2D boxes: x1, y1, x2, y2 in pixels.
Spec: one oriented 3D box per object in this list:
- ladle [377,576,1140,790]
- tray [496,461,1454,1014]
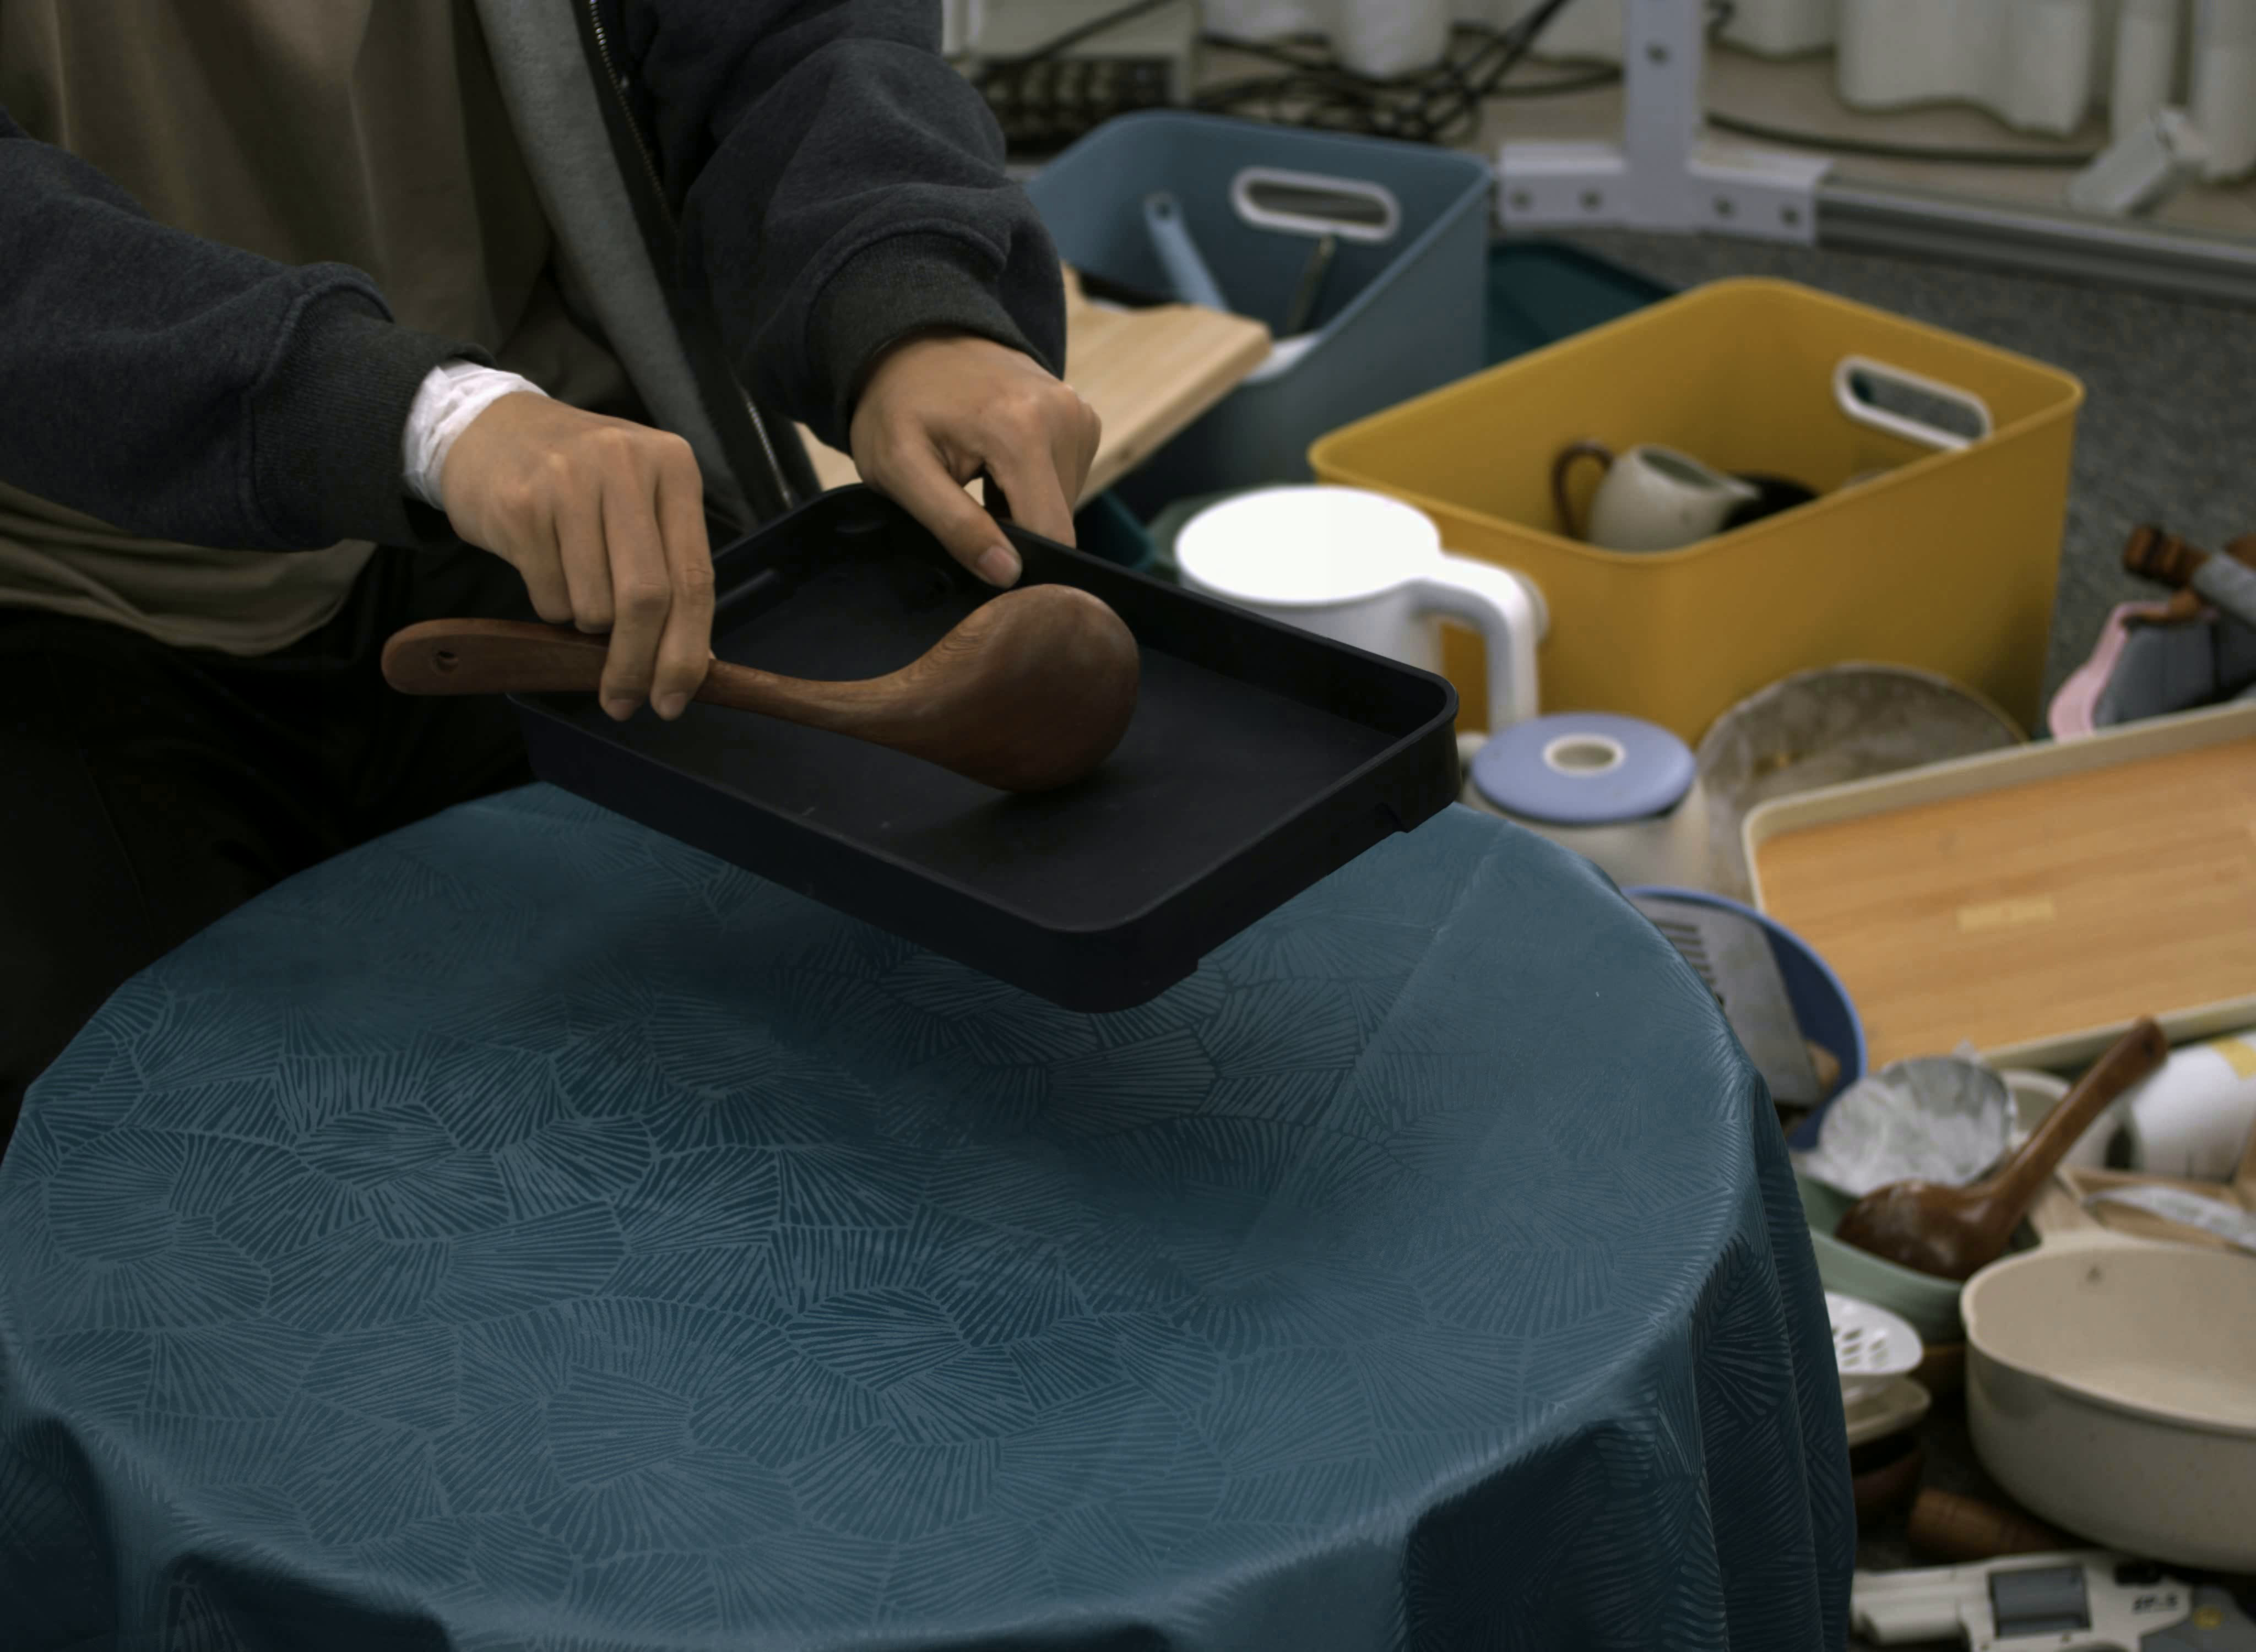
[{"bbox_3d":[-0.124,-0.056,1.907,0.258,0.076,0.066,6,28,14],"label":"ladle"},{"bbox_3d":[-0.054,-0.036,1.918,0.186,0.036,0.317,-32,38,-33],"label":"tray"}]
